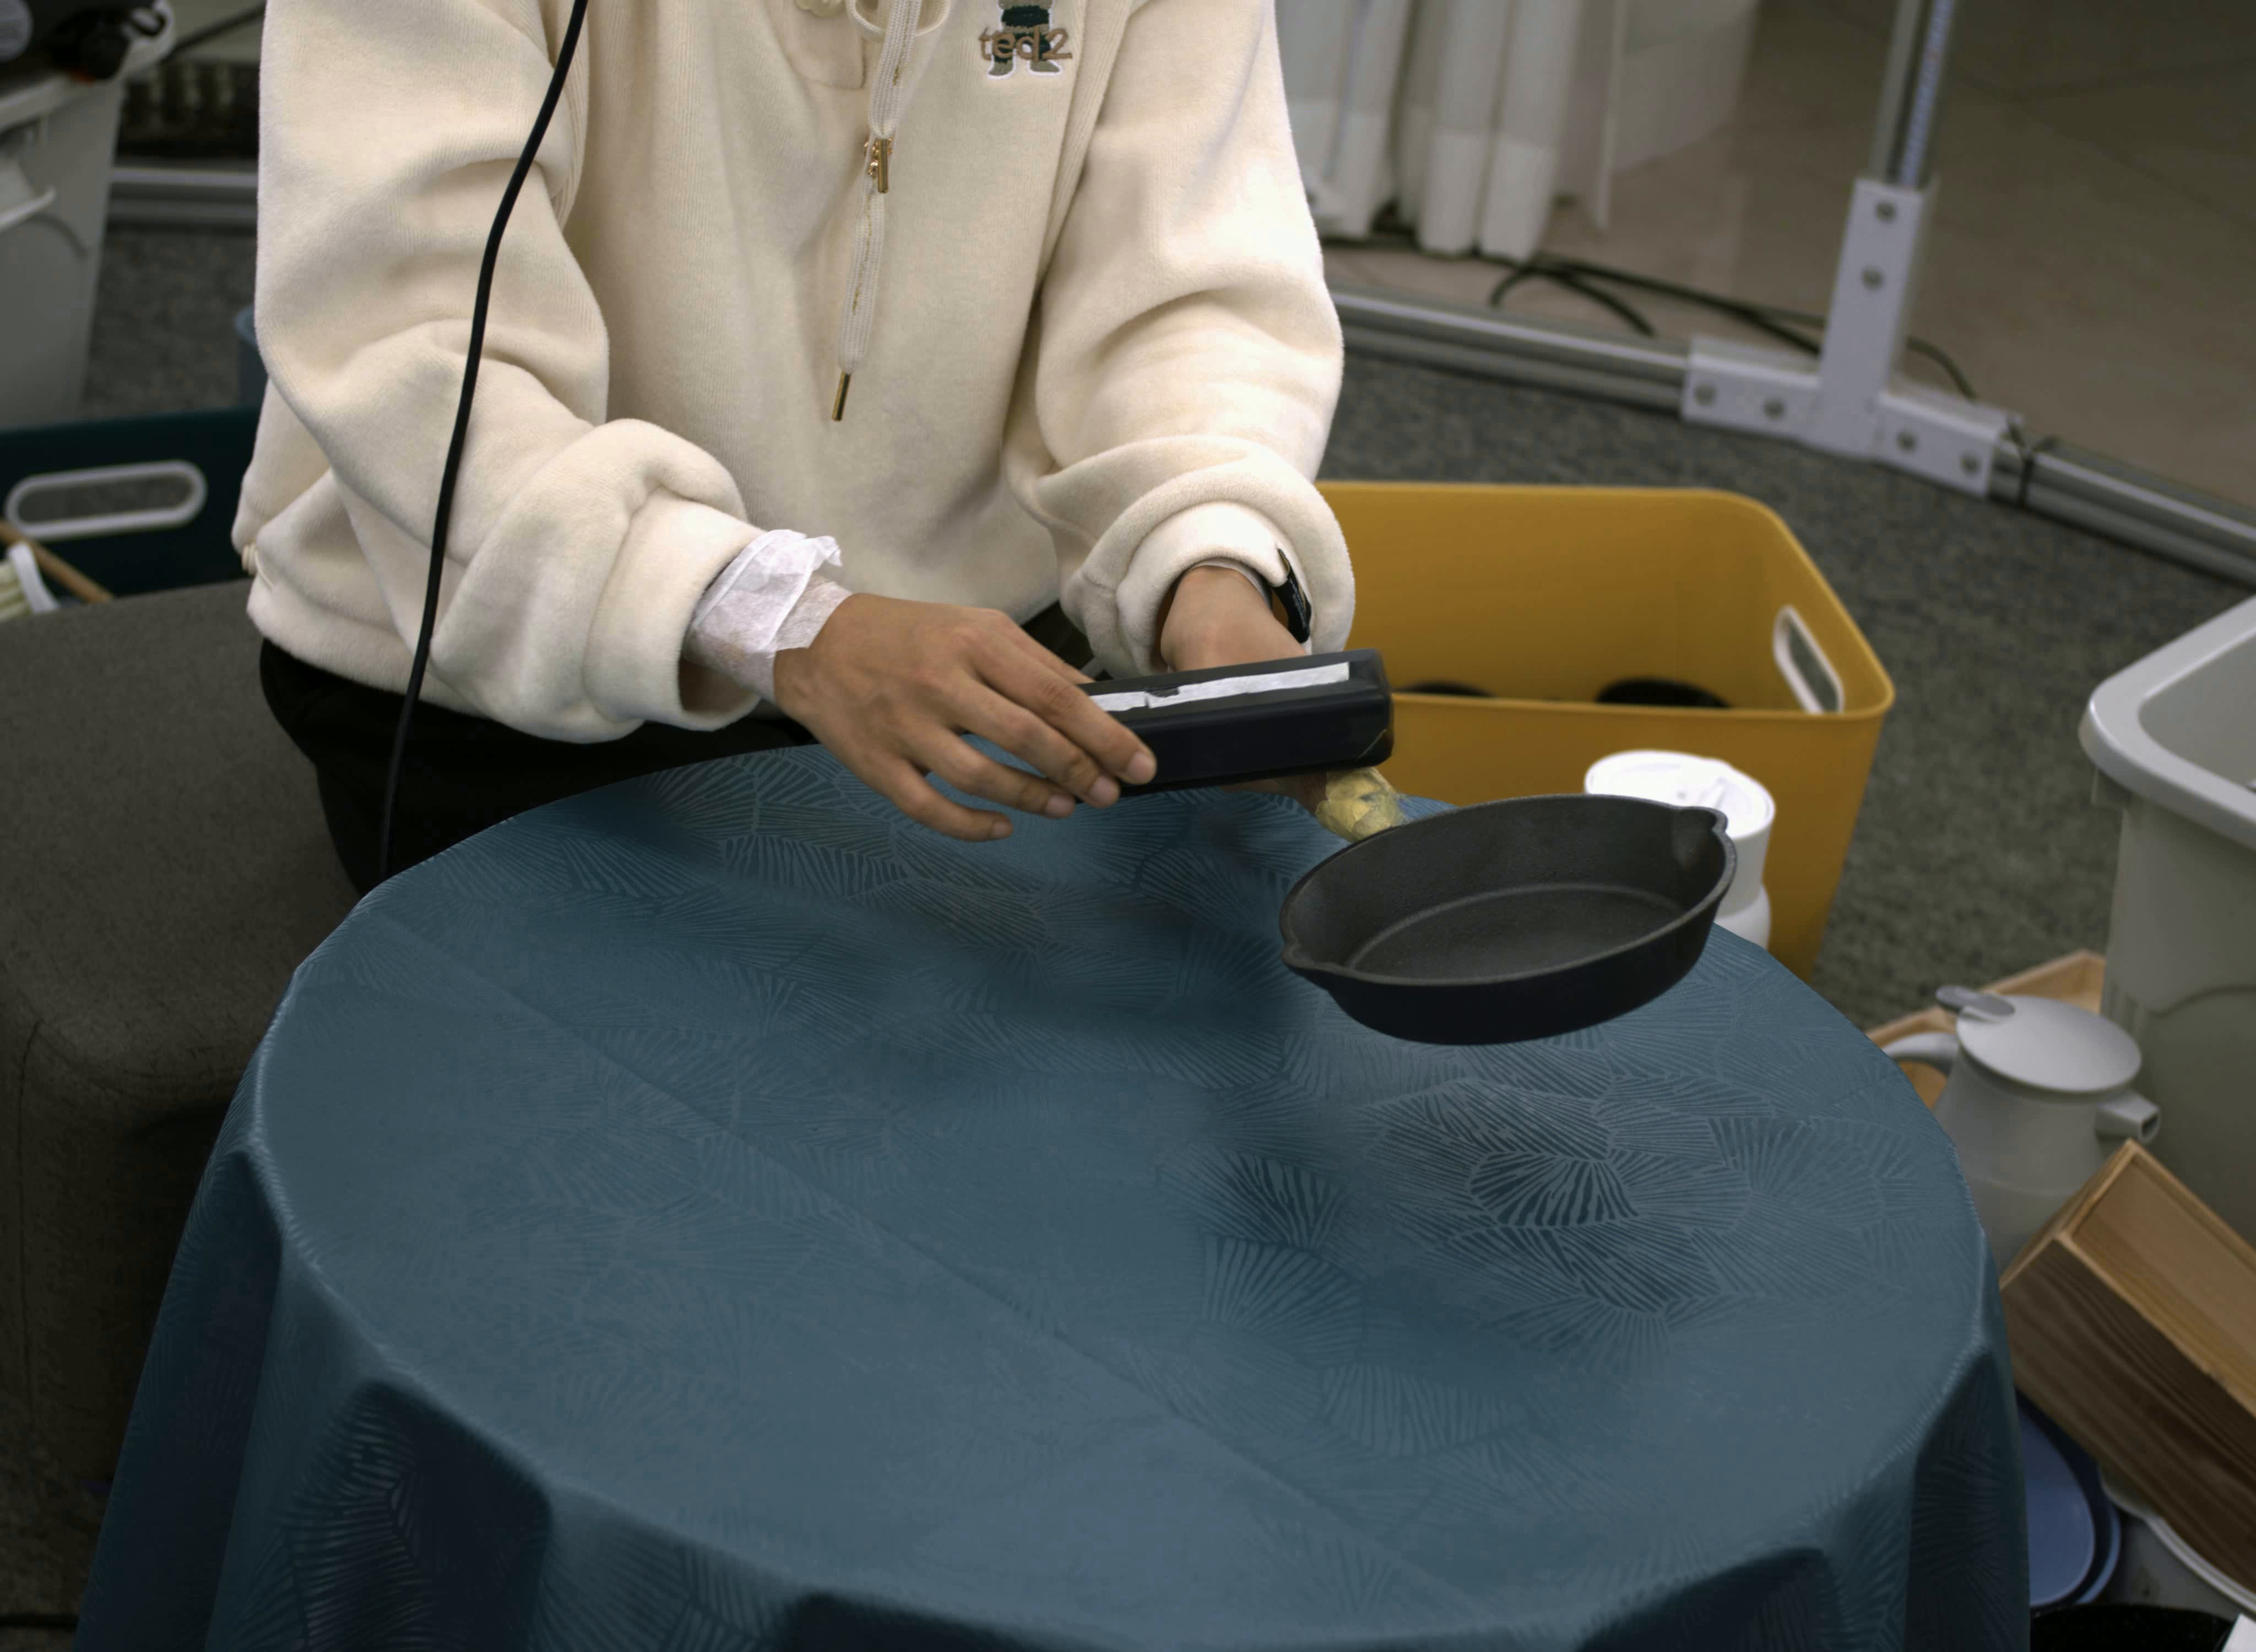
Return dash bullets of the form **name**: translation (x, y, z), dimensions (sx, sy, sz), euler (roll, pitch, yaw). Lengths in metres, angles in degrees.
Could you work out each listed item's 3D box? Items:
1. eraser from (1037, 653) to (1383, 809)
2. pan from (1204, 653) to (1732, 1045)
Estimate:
- **eraser**: translation (0.030, -0.035, 1.924), dimensions (0.125, 0.030, 0.054), euler (-8, 21, 3)
- **pan**: translation (0.098, 0.002, 1.891), dimensions (0.168, 0.049, 0.326), euler (-19, 23, -16)
